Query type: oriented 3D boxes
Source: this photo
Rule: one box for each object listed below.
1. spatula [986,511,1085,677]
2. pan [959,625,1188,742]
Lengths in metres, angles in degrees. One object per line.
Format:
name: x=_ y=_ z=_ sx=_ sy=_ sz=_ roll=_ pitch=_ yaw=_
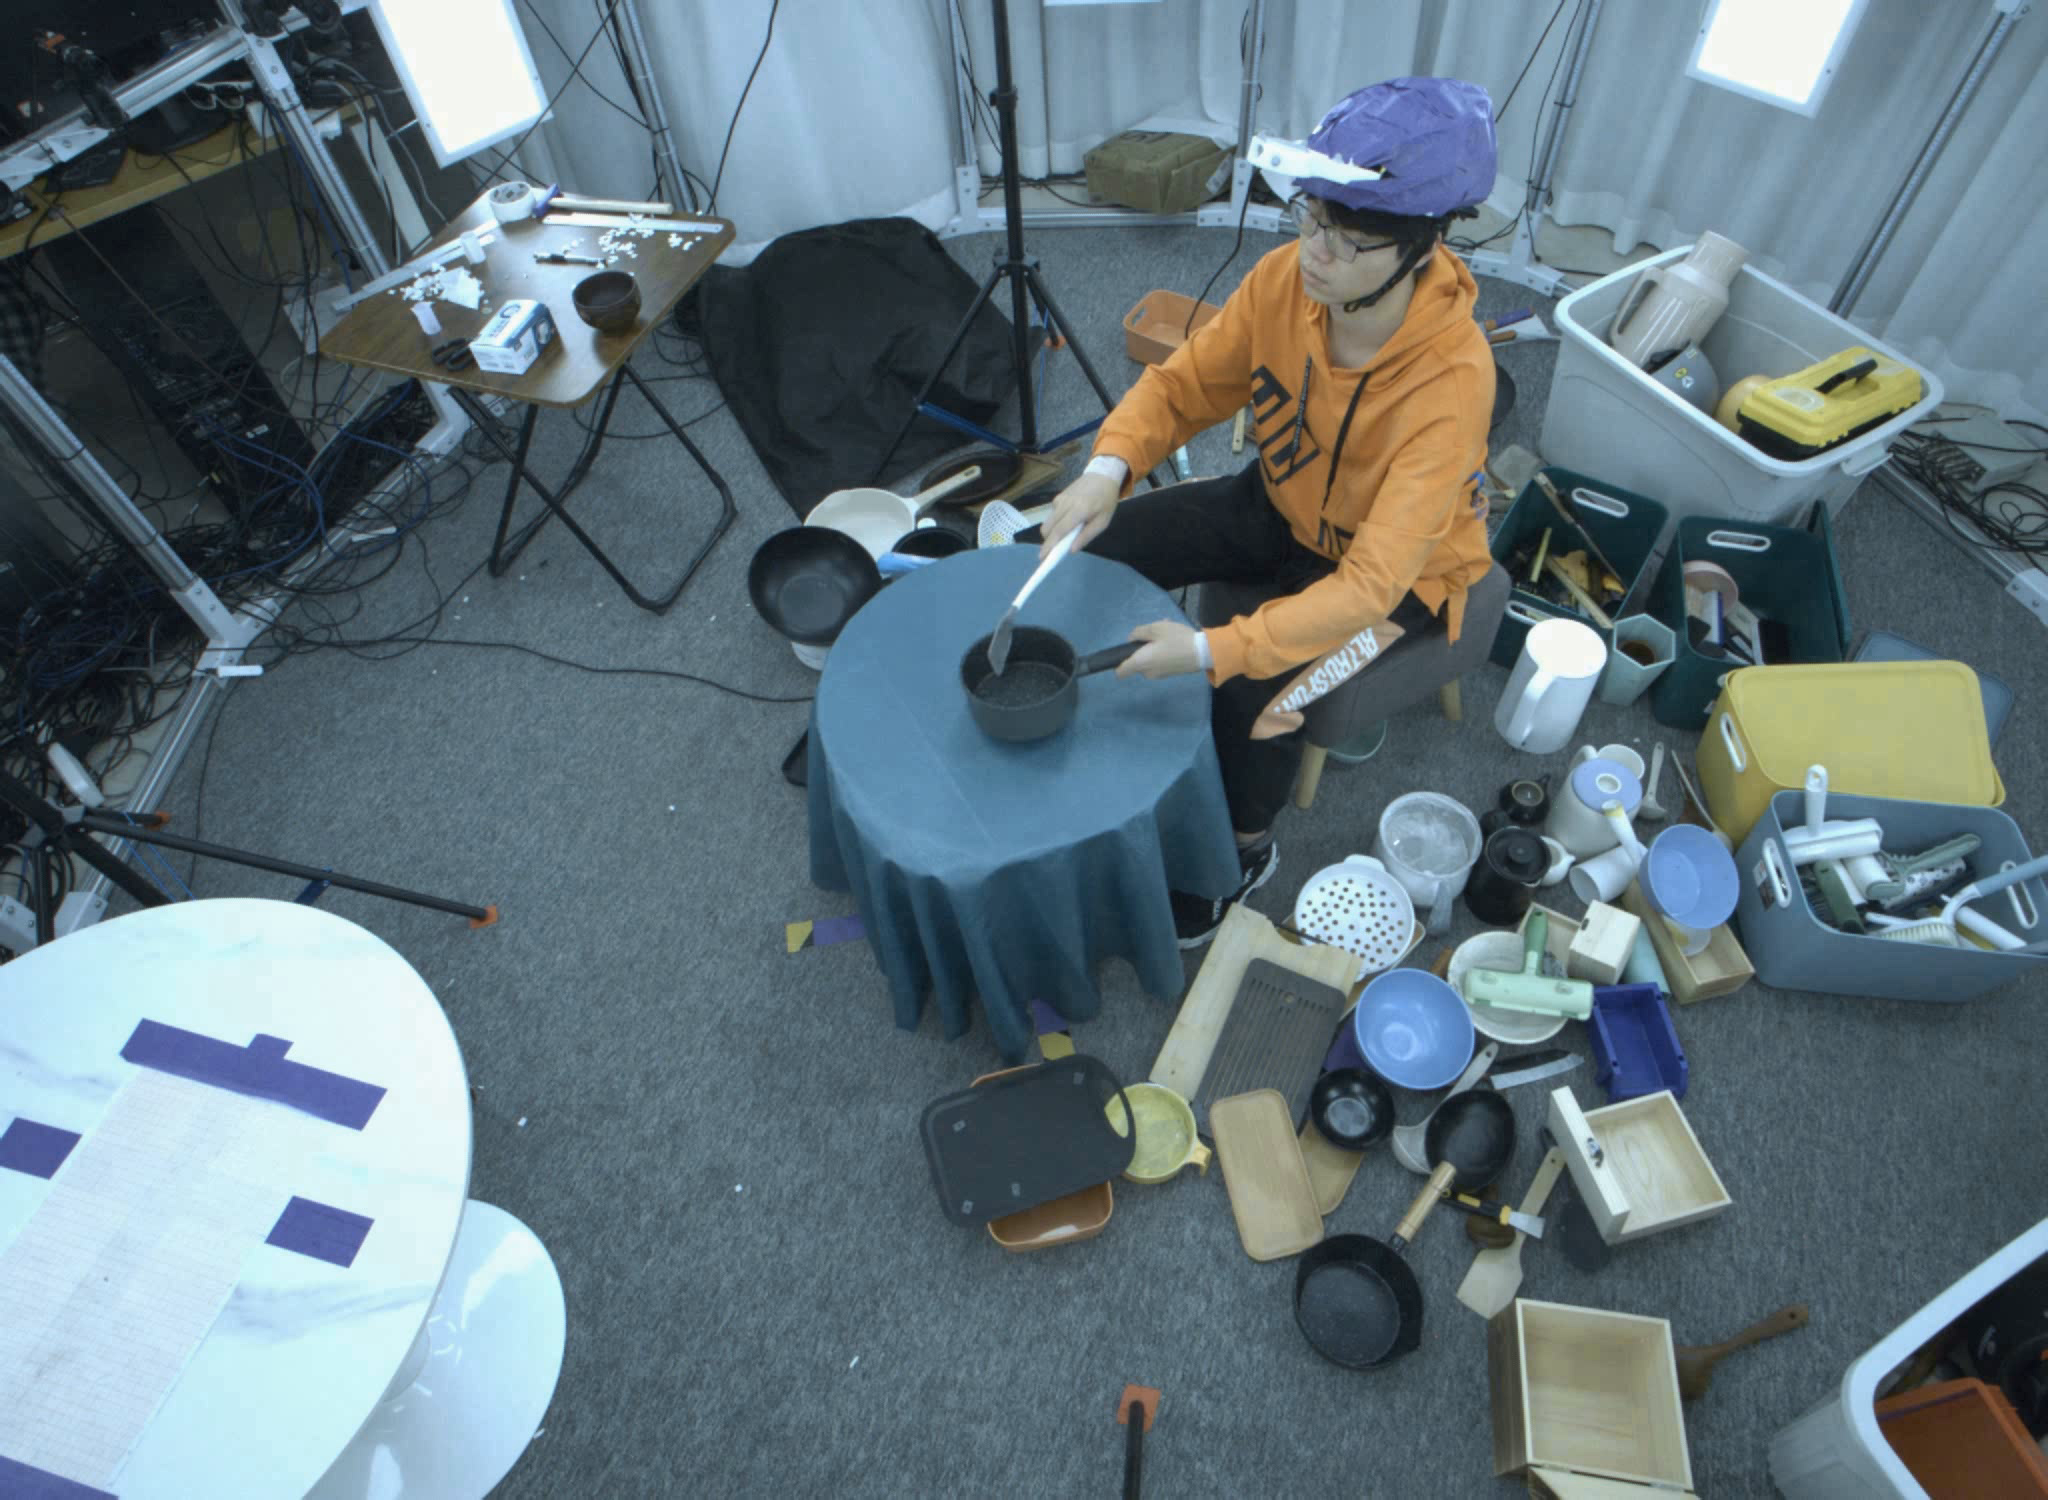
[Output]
spatula: x=0.012 y=-0.229 z=1.755 sx=0.031 sy=0.060 sz=0.288 roll=16 pitch=63 yaw=26
pan: x=0.074 y=-0.109 z=1.777 sx=0.328 sy=0.087 sz=0.169 roll=-9 pitch=50 yaw=1
